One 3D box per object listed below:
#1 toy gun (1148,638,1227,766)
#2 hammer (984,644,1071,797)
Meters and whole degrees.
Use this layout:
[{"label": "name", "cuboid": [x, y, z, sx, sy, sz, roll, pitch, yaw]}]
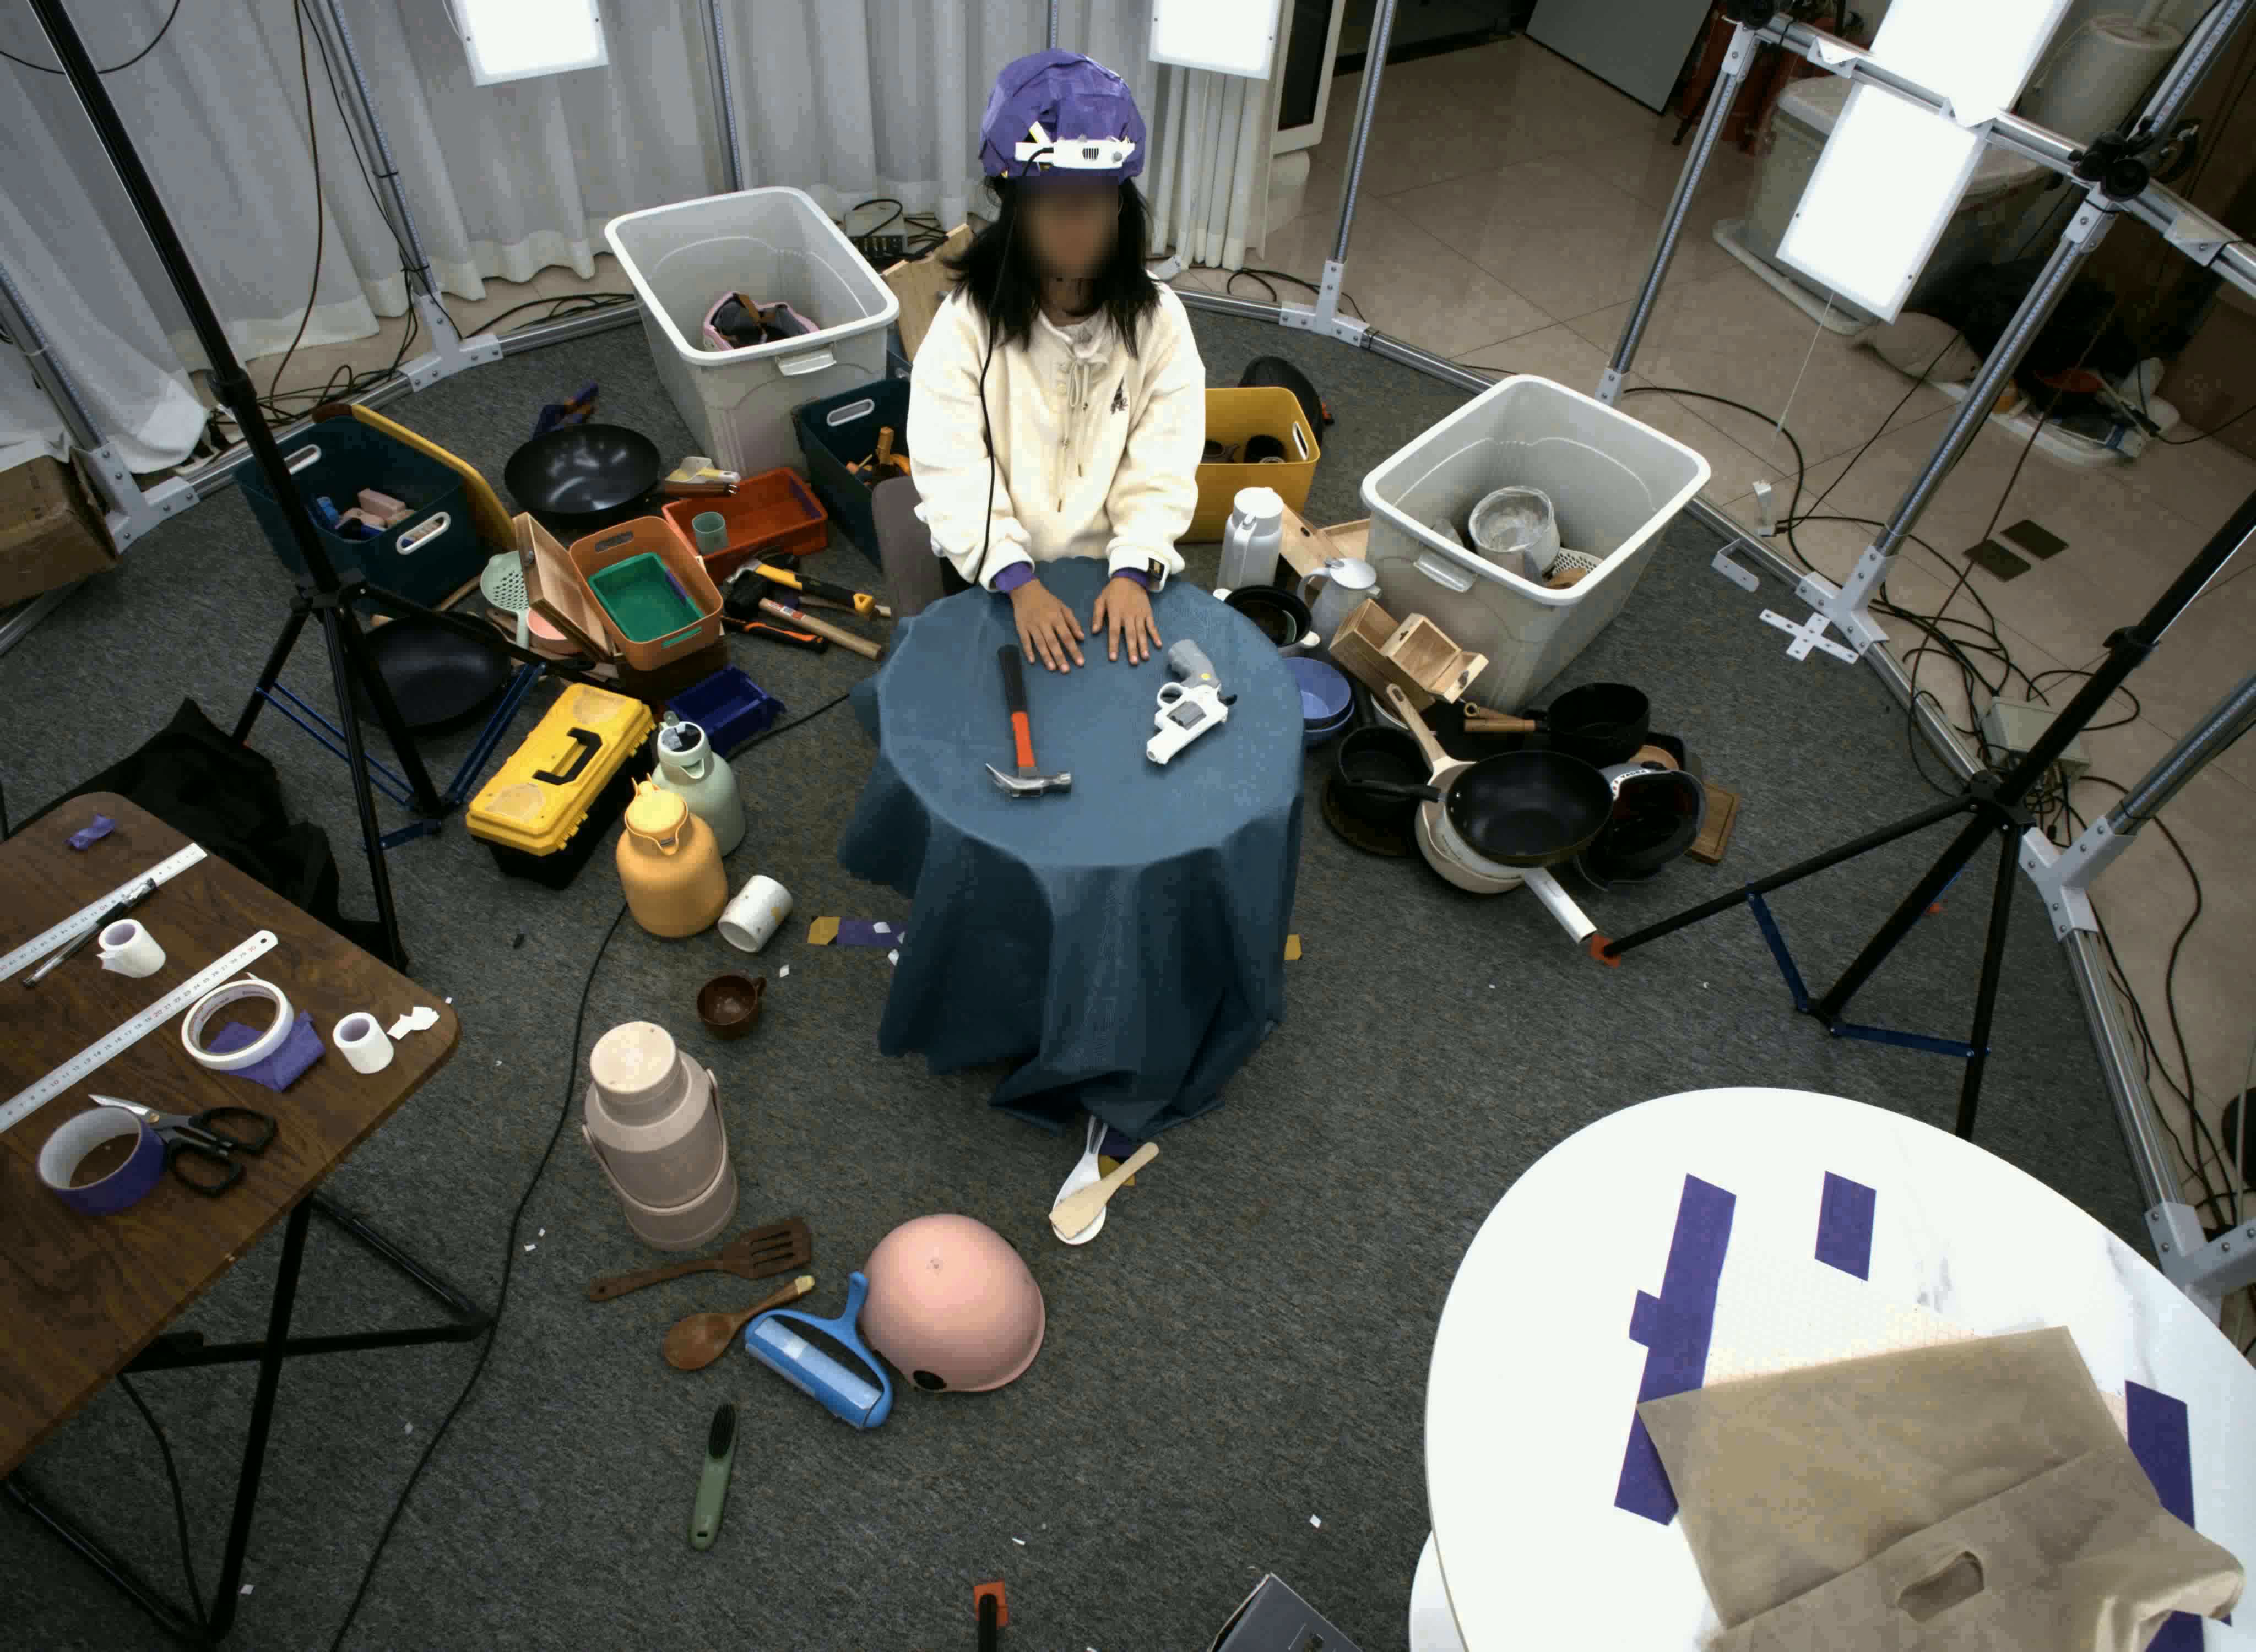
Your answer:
[{"label": "toy gun", "cuboid": [0.068, -0.177, 1.803, 0.143, 0.038, 0.211, 36, 56, 23]}, {"label": "hammer", "cuboid": [-0.151, -0.151, 1.772, 0.110, 0.026, 0.284, -10, 50, -2]}]
